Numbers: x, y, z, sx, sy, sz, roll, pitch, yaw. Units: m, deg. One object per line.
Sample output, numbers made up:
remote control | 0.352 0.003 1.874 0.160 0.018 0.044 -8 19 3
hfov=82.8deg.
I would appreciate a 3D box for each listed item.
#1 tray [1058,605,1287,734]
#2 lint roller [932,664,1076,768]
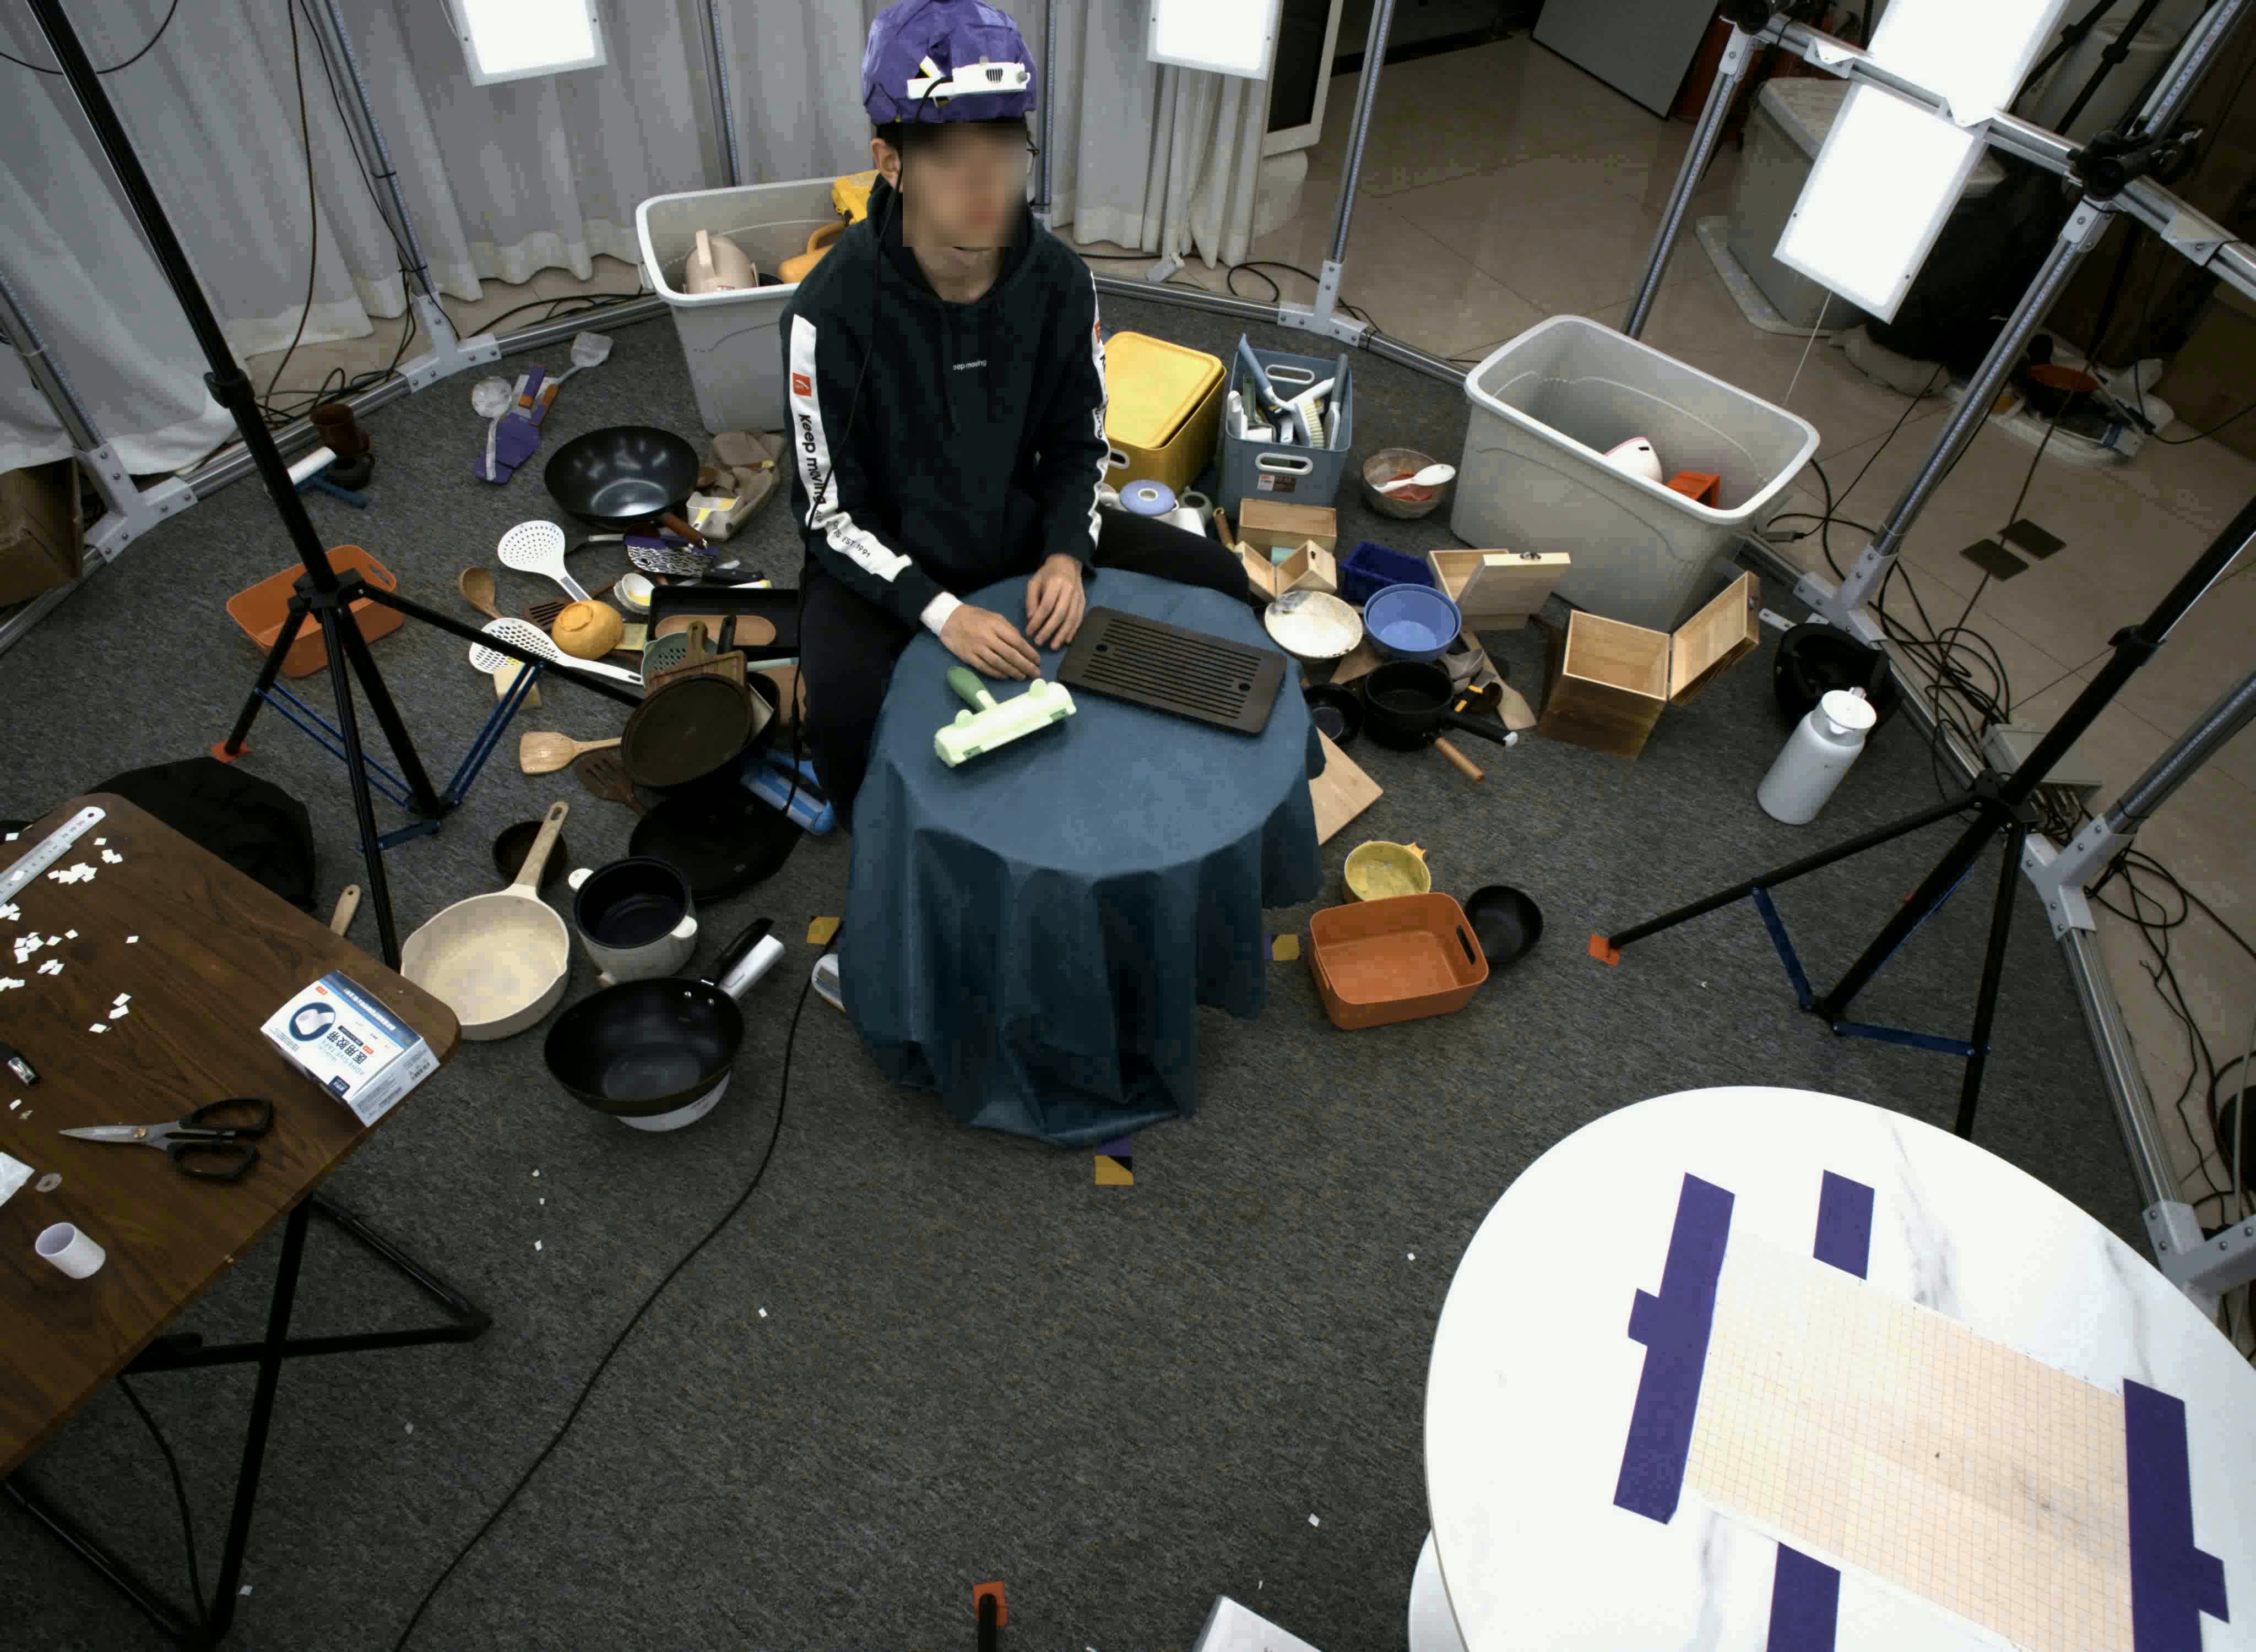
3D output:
tray | 0.066 -0.227 1.858 0.307 0.018 0.173 16 50 10
lint roller | -0.198 -0.181 1.761 0.199 0.080 0.187 -26 58 -23
